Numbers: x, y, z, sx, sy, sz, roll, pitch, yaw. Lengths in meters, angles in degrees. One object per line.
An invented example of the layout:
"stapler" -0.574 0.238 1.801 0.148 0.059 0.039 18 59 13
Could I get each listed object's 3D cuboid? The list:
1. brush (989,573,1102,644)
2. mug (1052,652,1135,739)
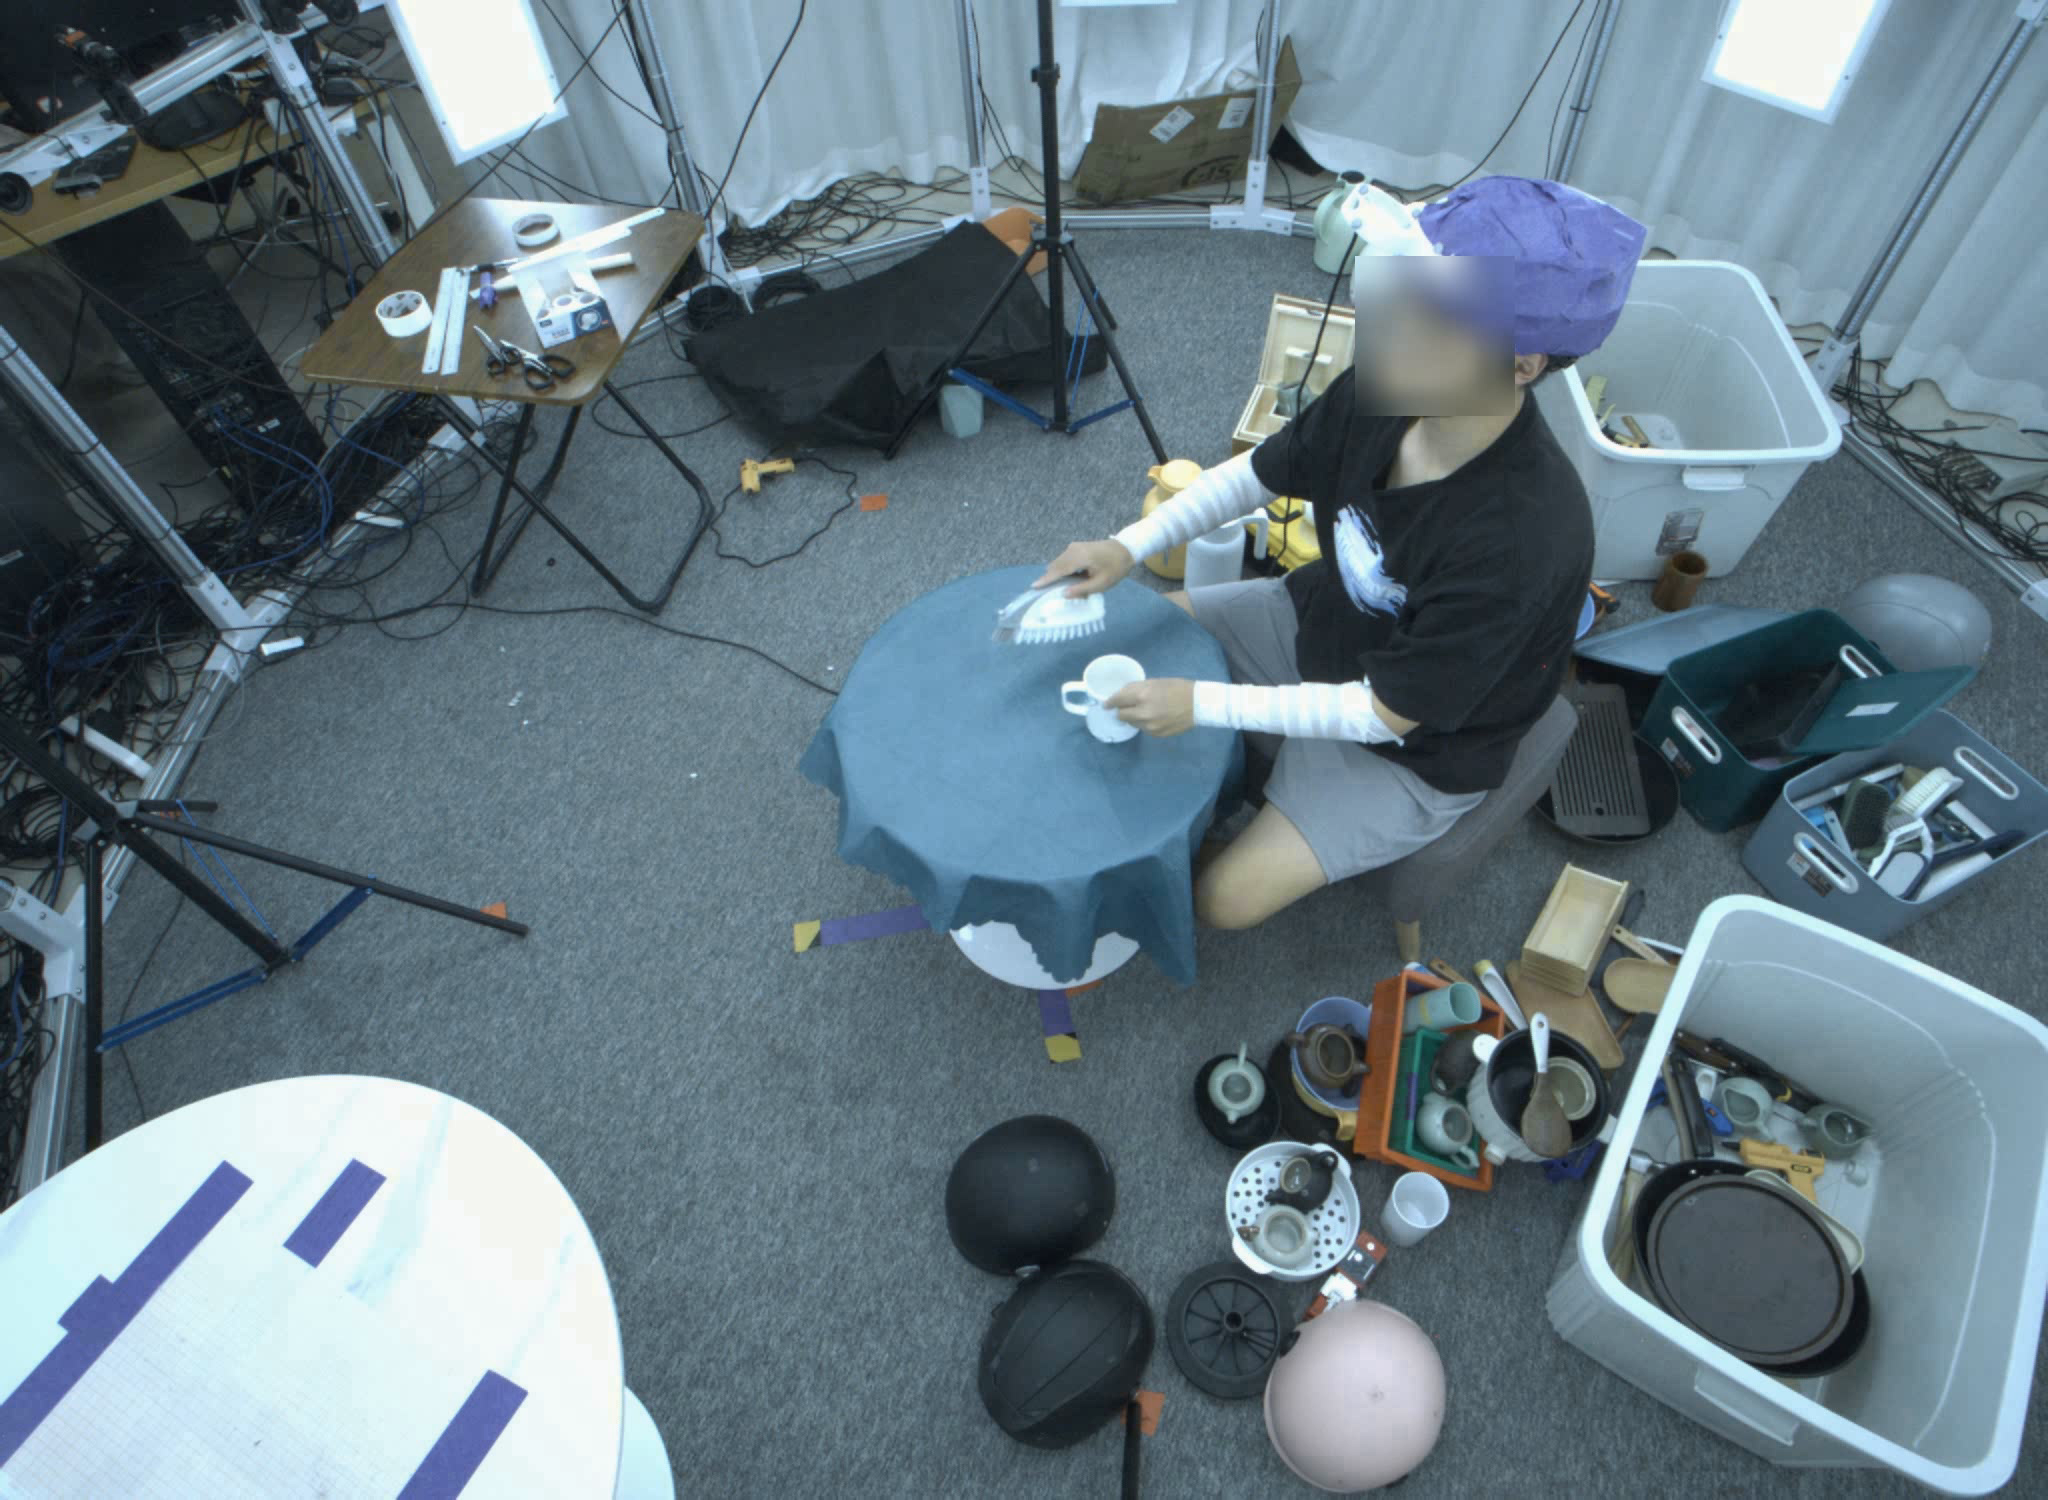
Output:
"brush" 0.029 -0.208 1.787 0.178 0.095 0.060 -14 40 -21
"mug" 0.100 -0.075 1.765 0.118 0.103 0.084 -3 54 2
